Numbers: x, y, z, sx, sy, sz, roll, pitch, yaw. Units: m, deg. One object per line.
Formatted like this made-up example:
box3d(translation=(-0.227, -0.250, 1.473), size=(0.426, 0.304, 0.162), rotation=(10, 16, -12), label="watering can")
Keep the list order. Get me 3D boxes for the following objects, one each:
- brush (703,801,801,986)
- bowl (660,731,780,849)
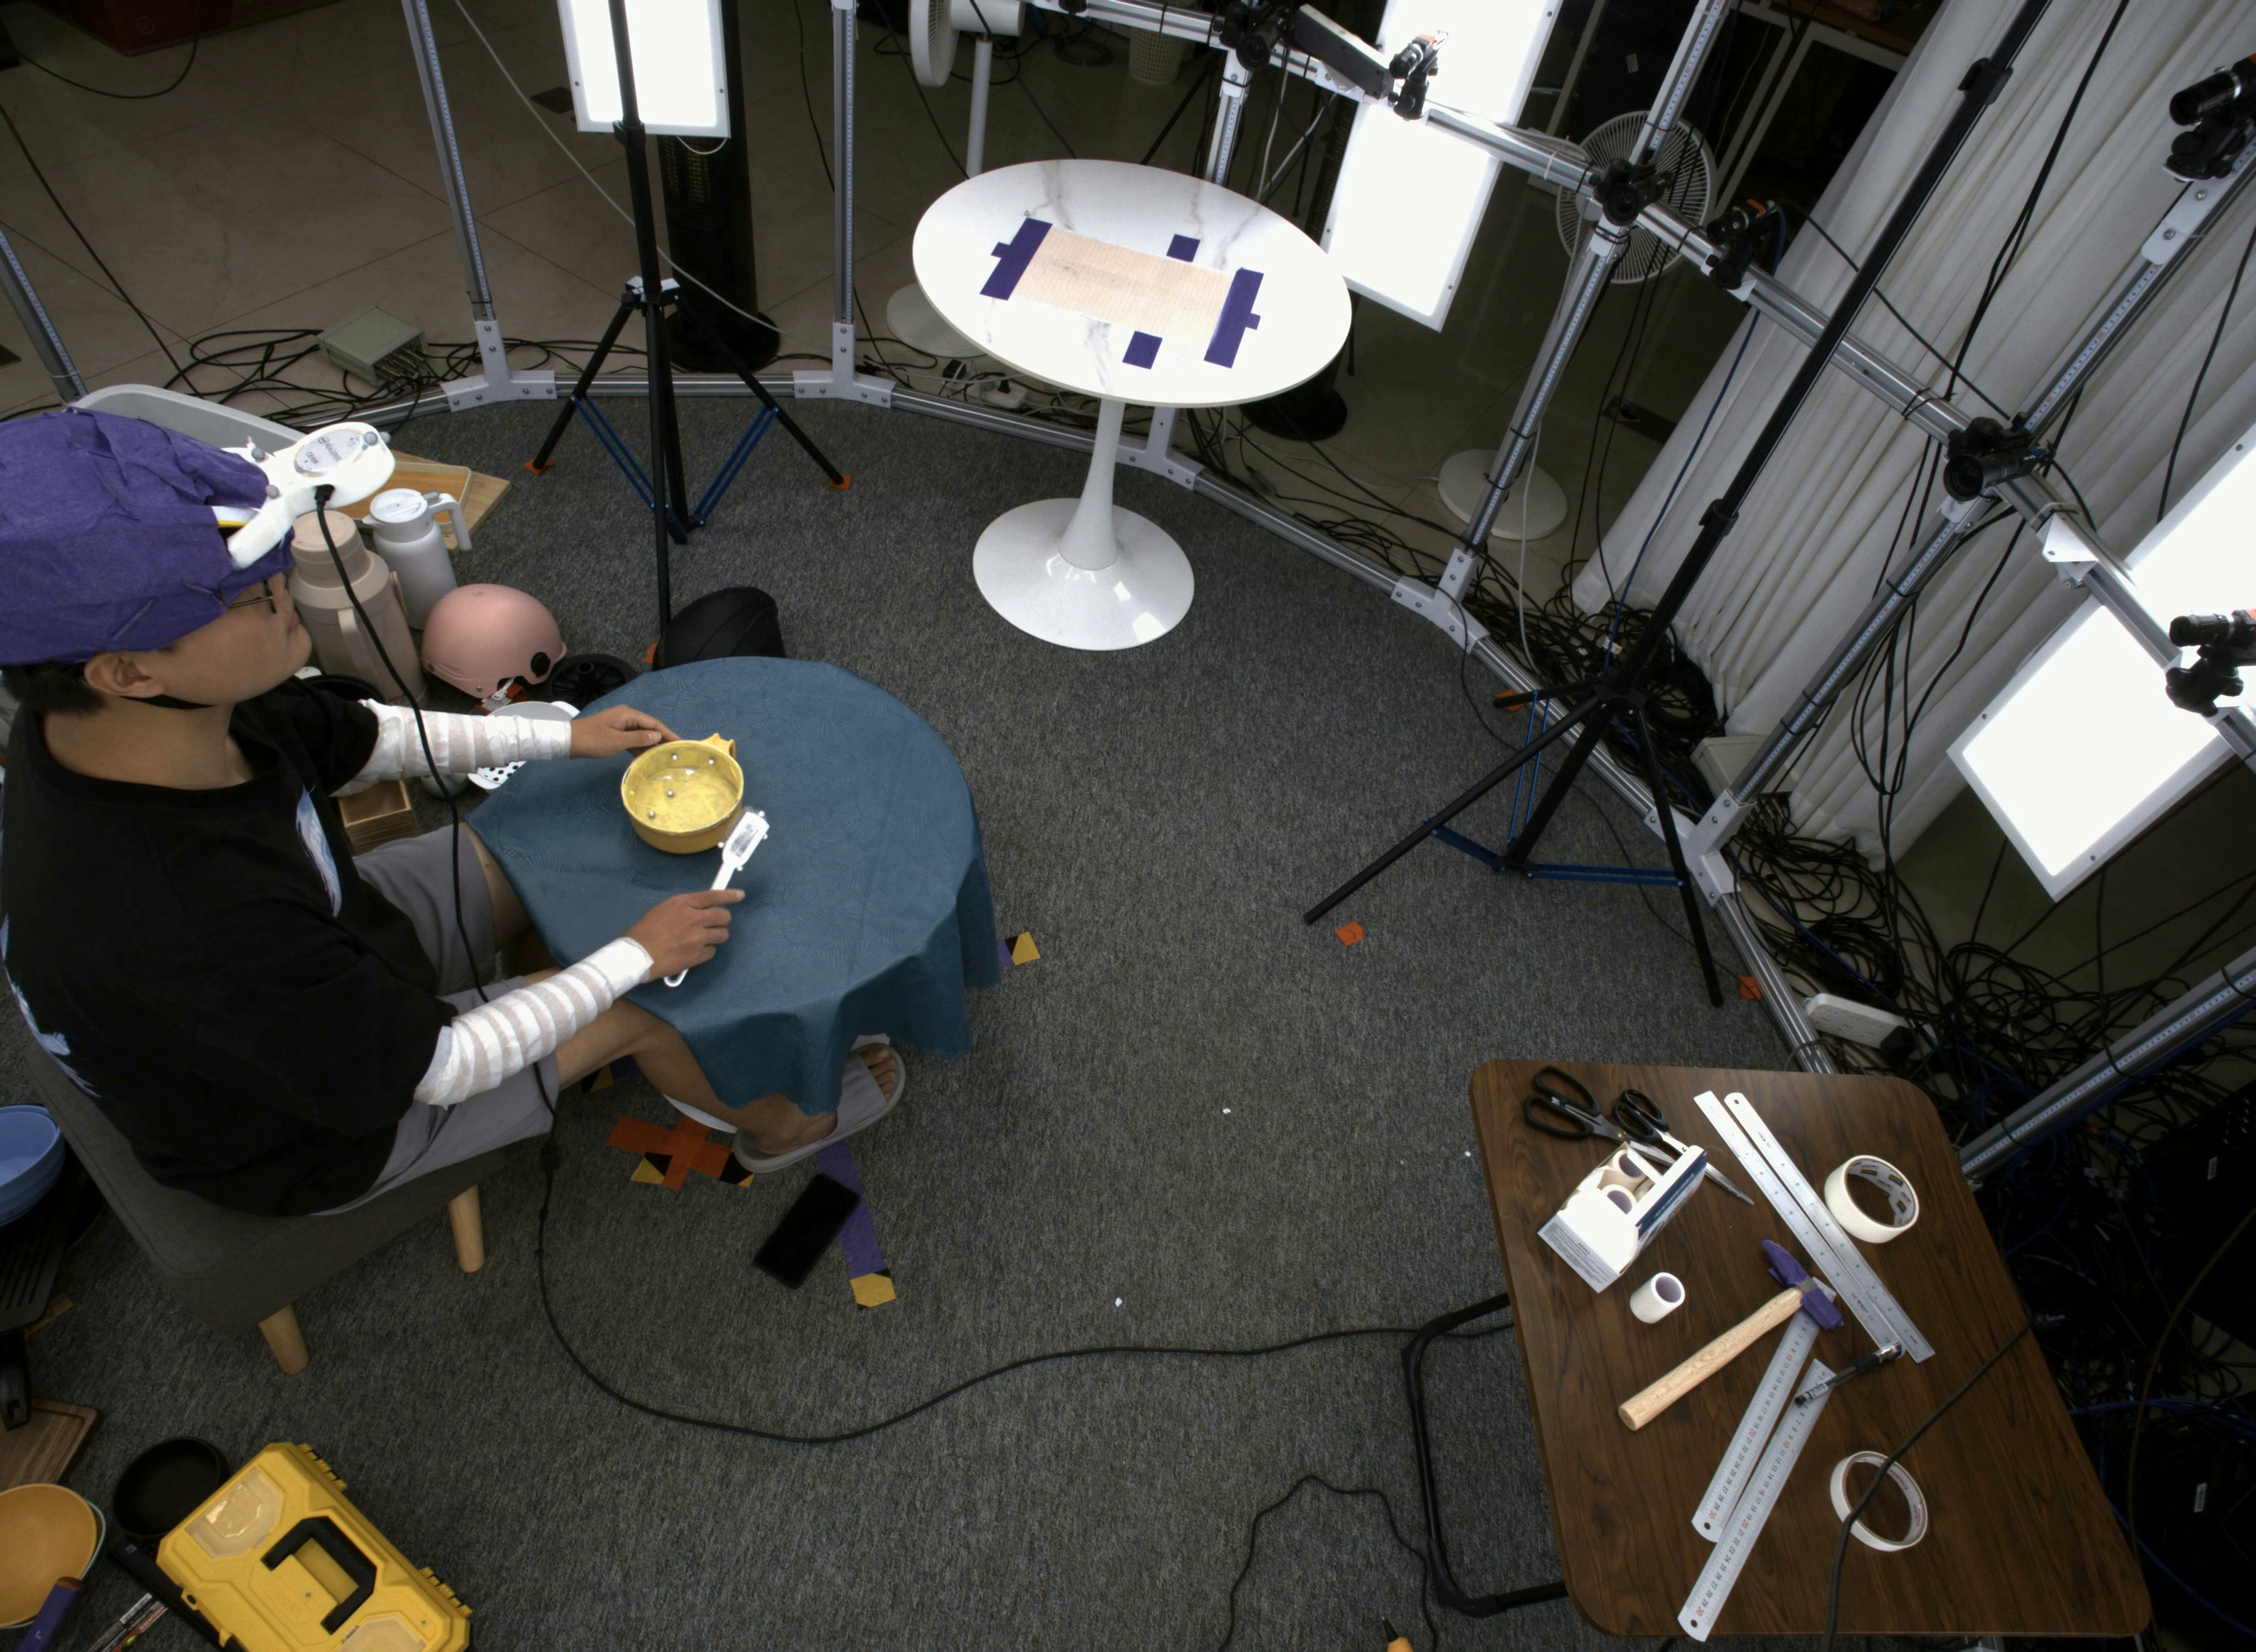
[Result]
box3d(translation=(-0.474, 0.081, 1.606), size=(0.035, 0.048, 0.244), rotation=(33, 72, -35), label="brush")
box3d(translation=(-0.526, -0.050, 1.702), size=(0.150, 0.076, 0.178), rotation=(19, 51, 7), label="bowl")
